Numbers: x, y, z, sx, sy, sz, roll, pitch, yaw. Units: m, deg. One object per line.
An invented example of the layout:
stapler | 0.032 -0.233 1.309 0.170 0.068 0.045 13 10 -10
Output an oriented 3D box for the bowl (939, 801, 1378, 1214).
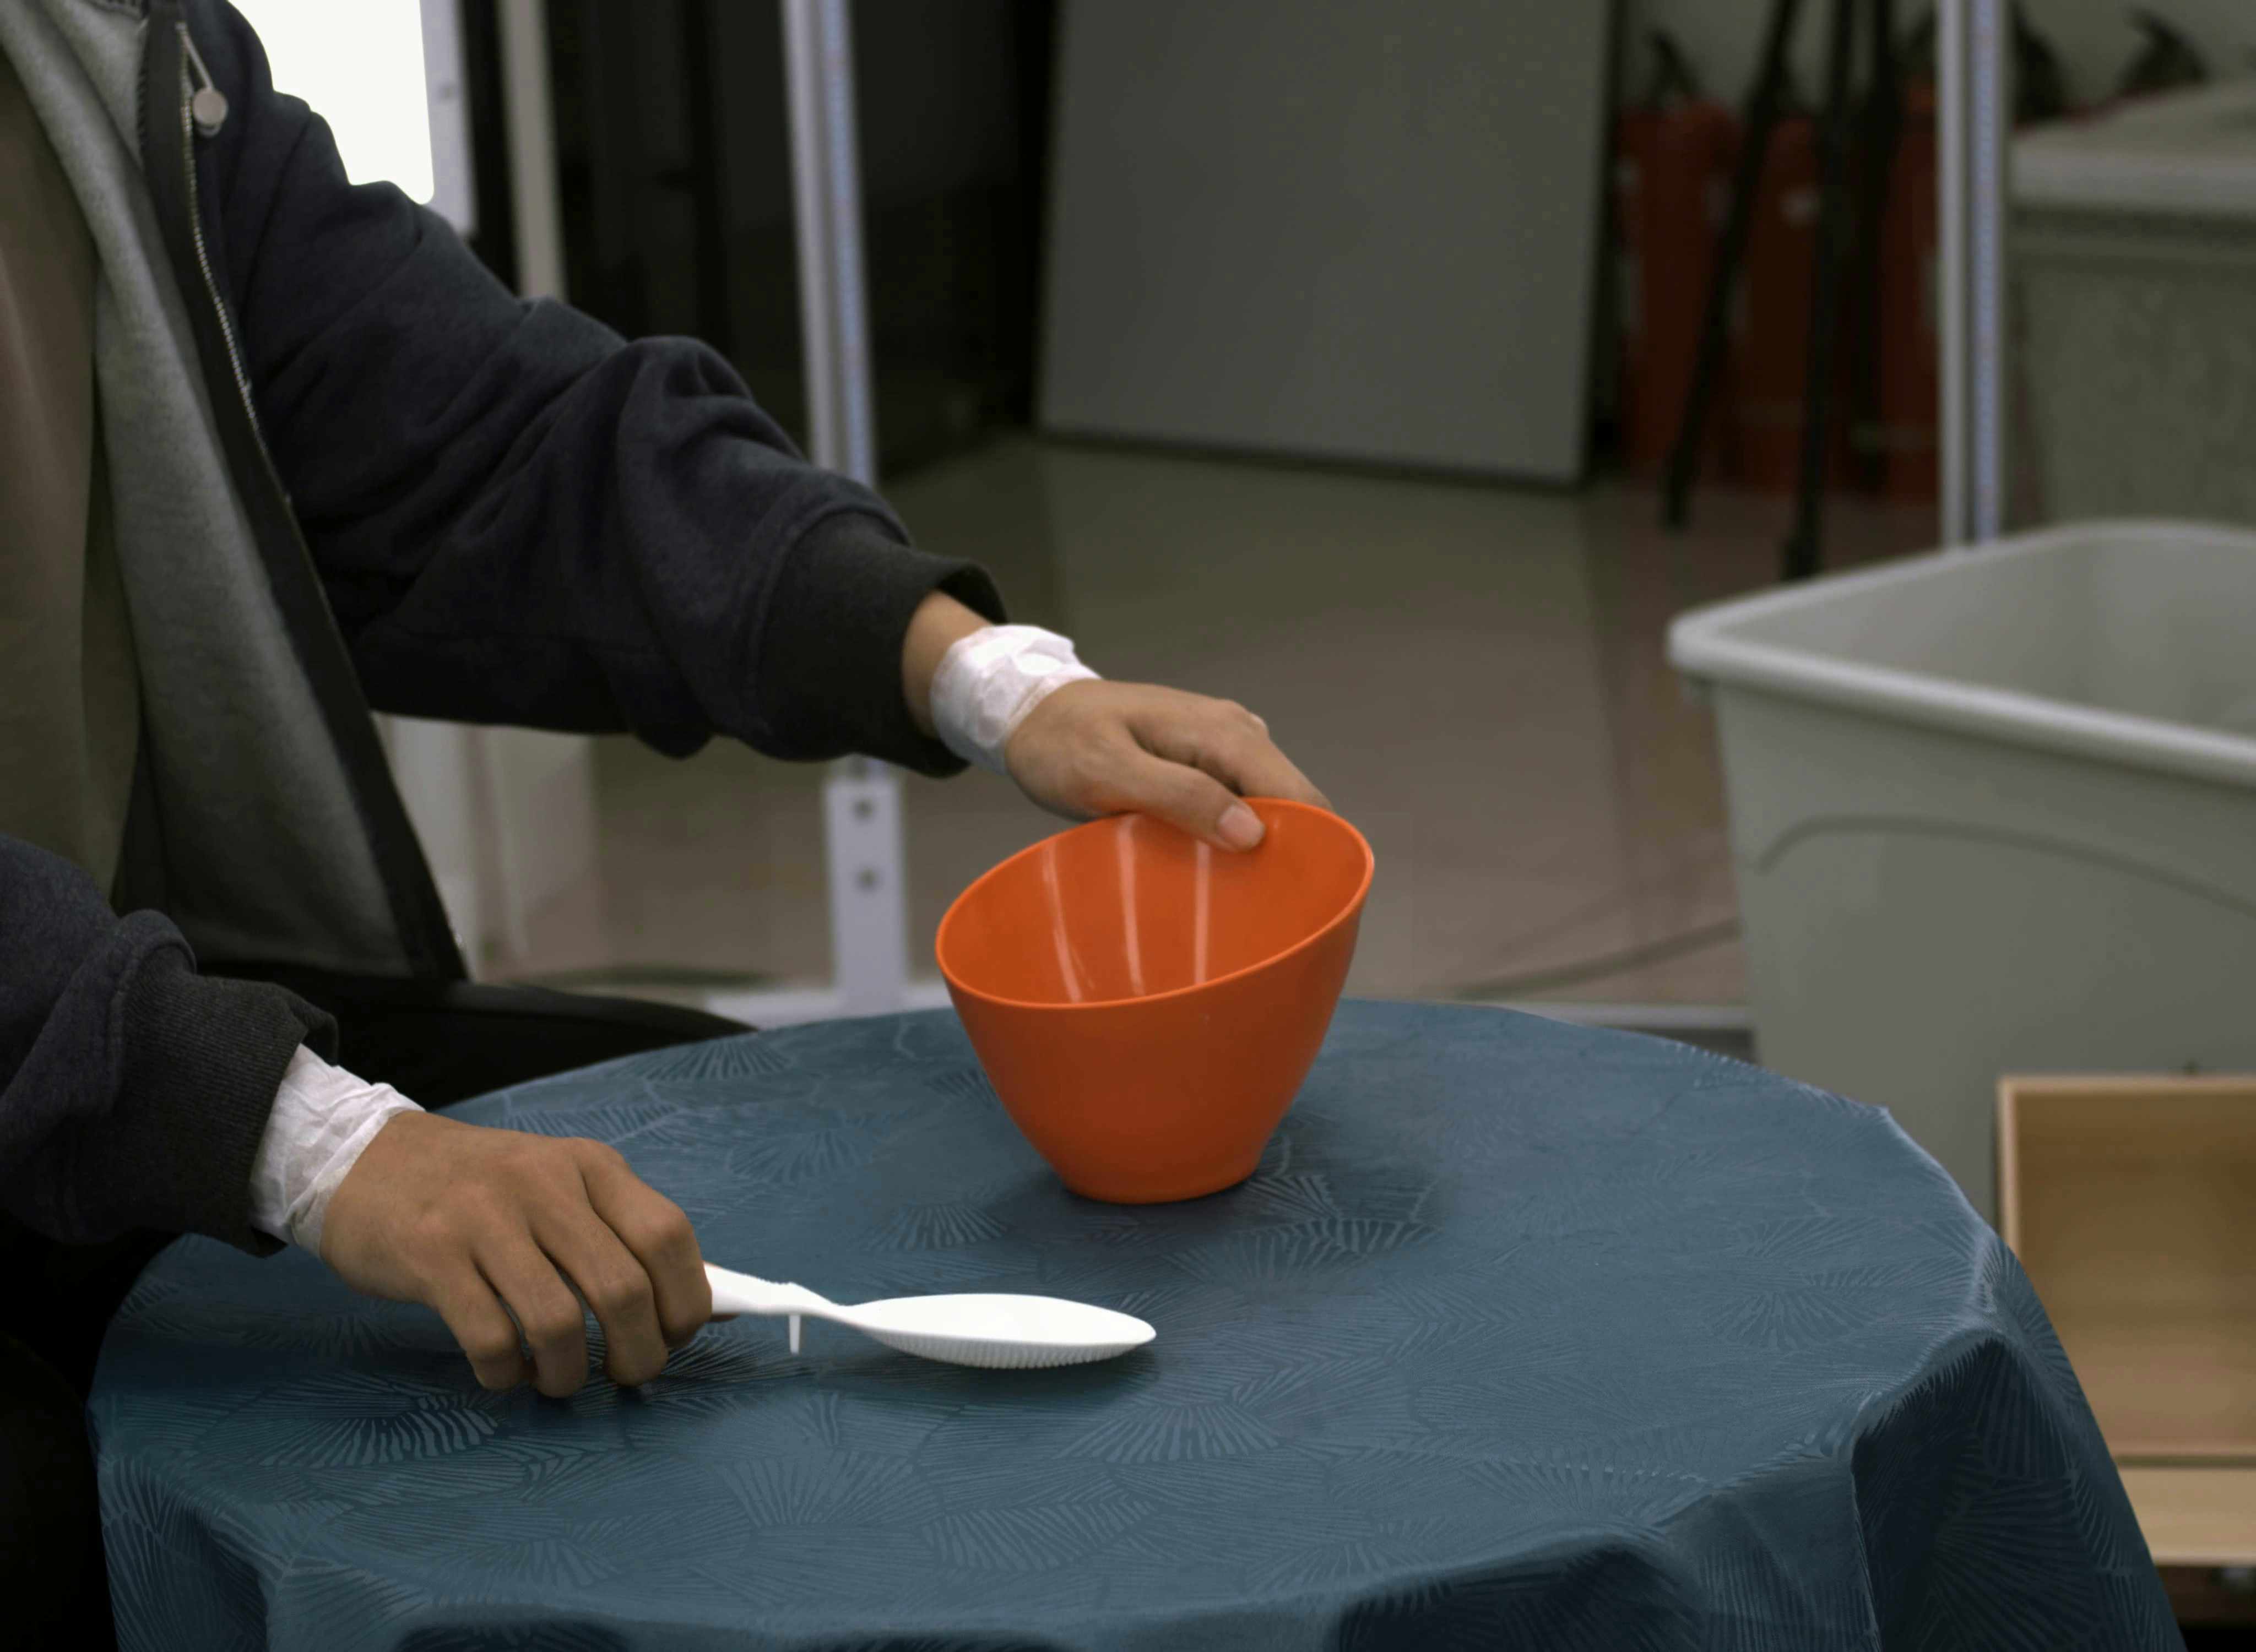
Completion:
bowl | 0.014 0.064 1.777 0.146 0.105 0.148 -6 17 1

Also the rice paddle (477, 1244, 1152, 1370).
rice paddle | -0.093 0.145 1.619 0.203 0.030 0.068 2 8 8
